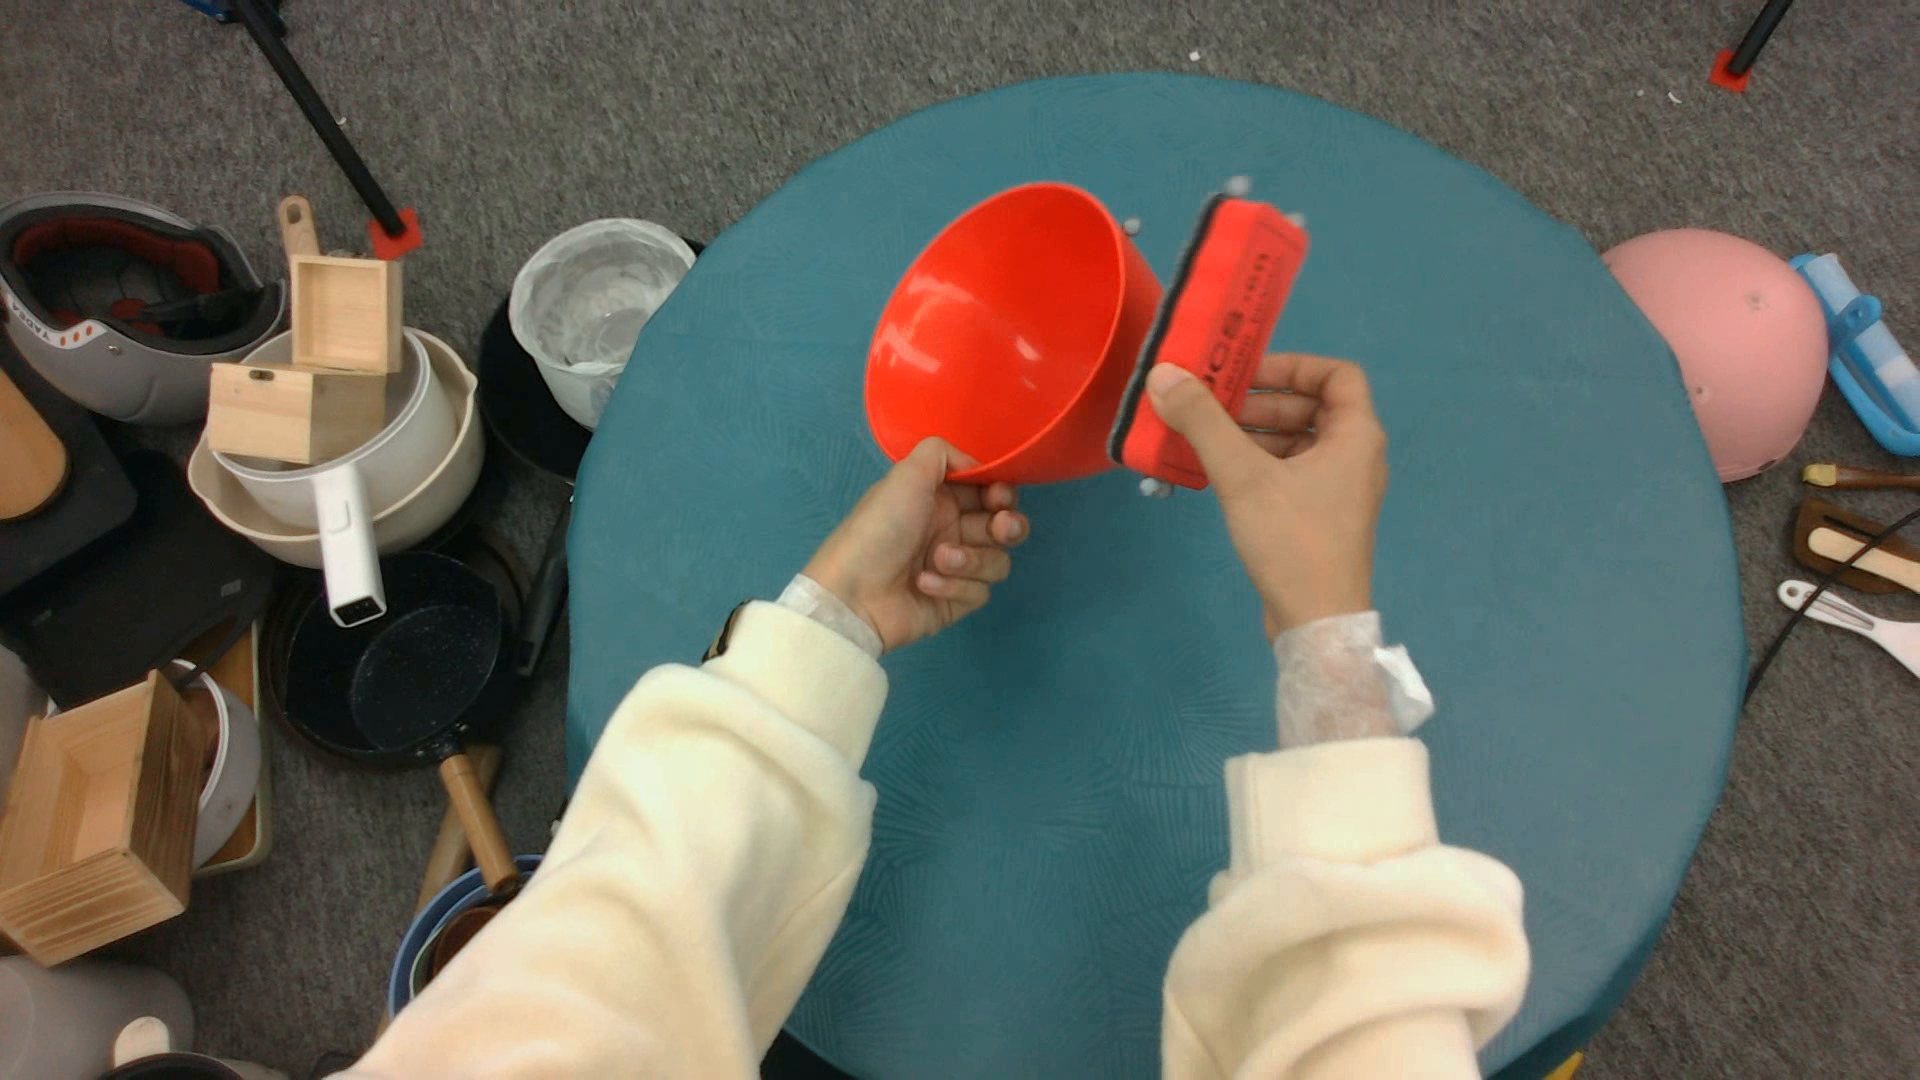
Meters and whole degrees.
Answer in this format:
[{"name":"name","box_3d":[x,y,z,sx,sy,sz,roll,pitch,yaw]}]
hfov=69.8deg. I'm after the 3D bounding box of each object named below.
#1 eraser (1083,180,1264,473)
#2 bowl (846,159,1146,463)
[{"name":"eraser","box_3d":[0.086,-0.083,0.546,0.023,0.059,0.108,22,94,31]},{"name":"bowl","box_3d":[0.033,-0.092,0.640,0.104,0.147,0.148,25,62,-36]}]
